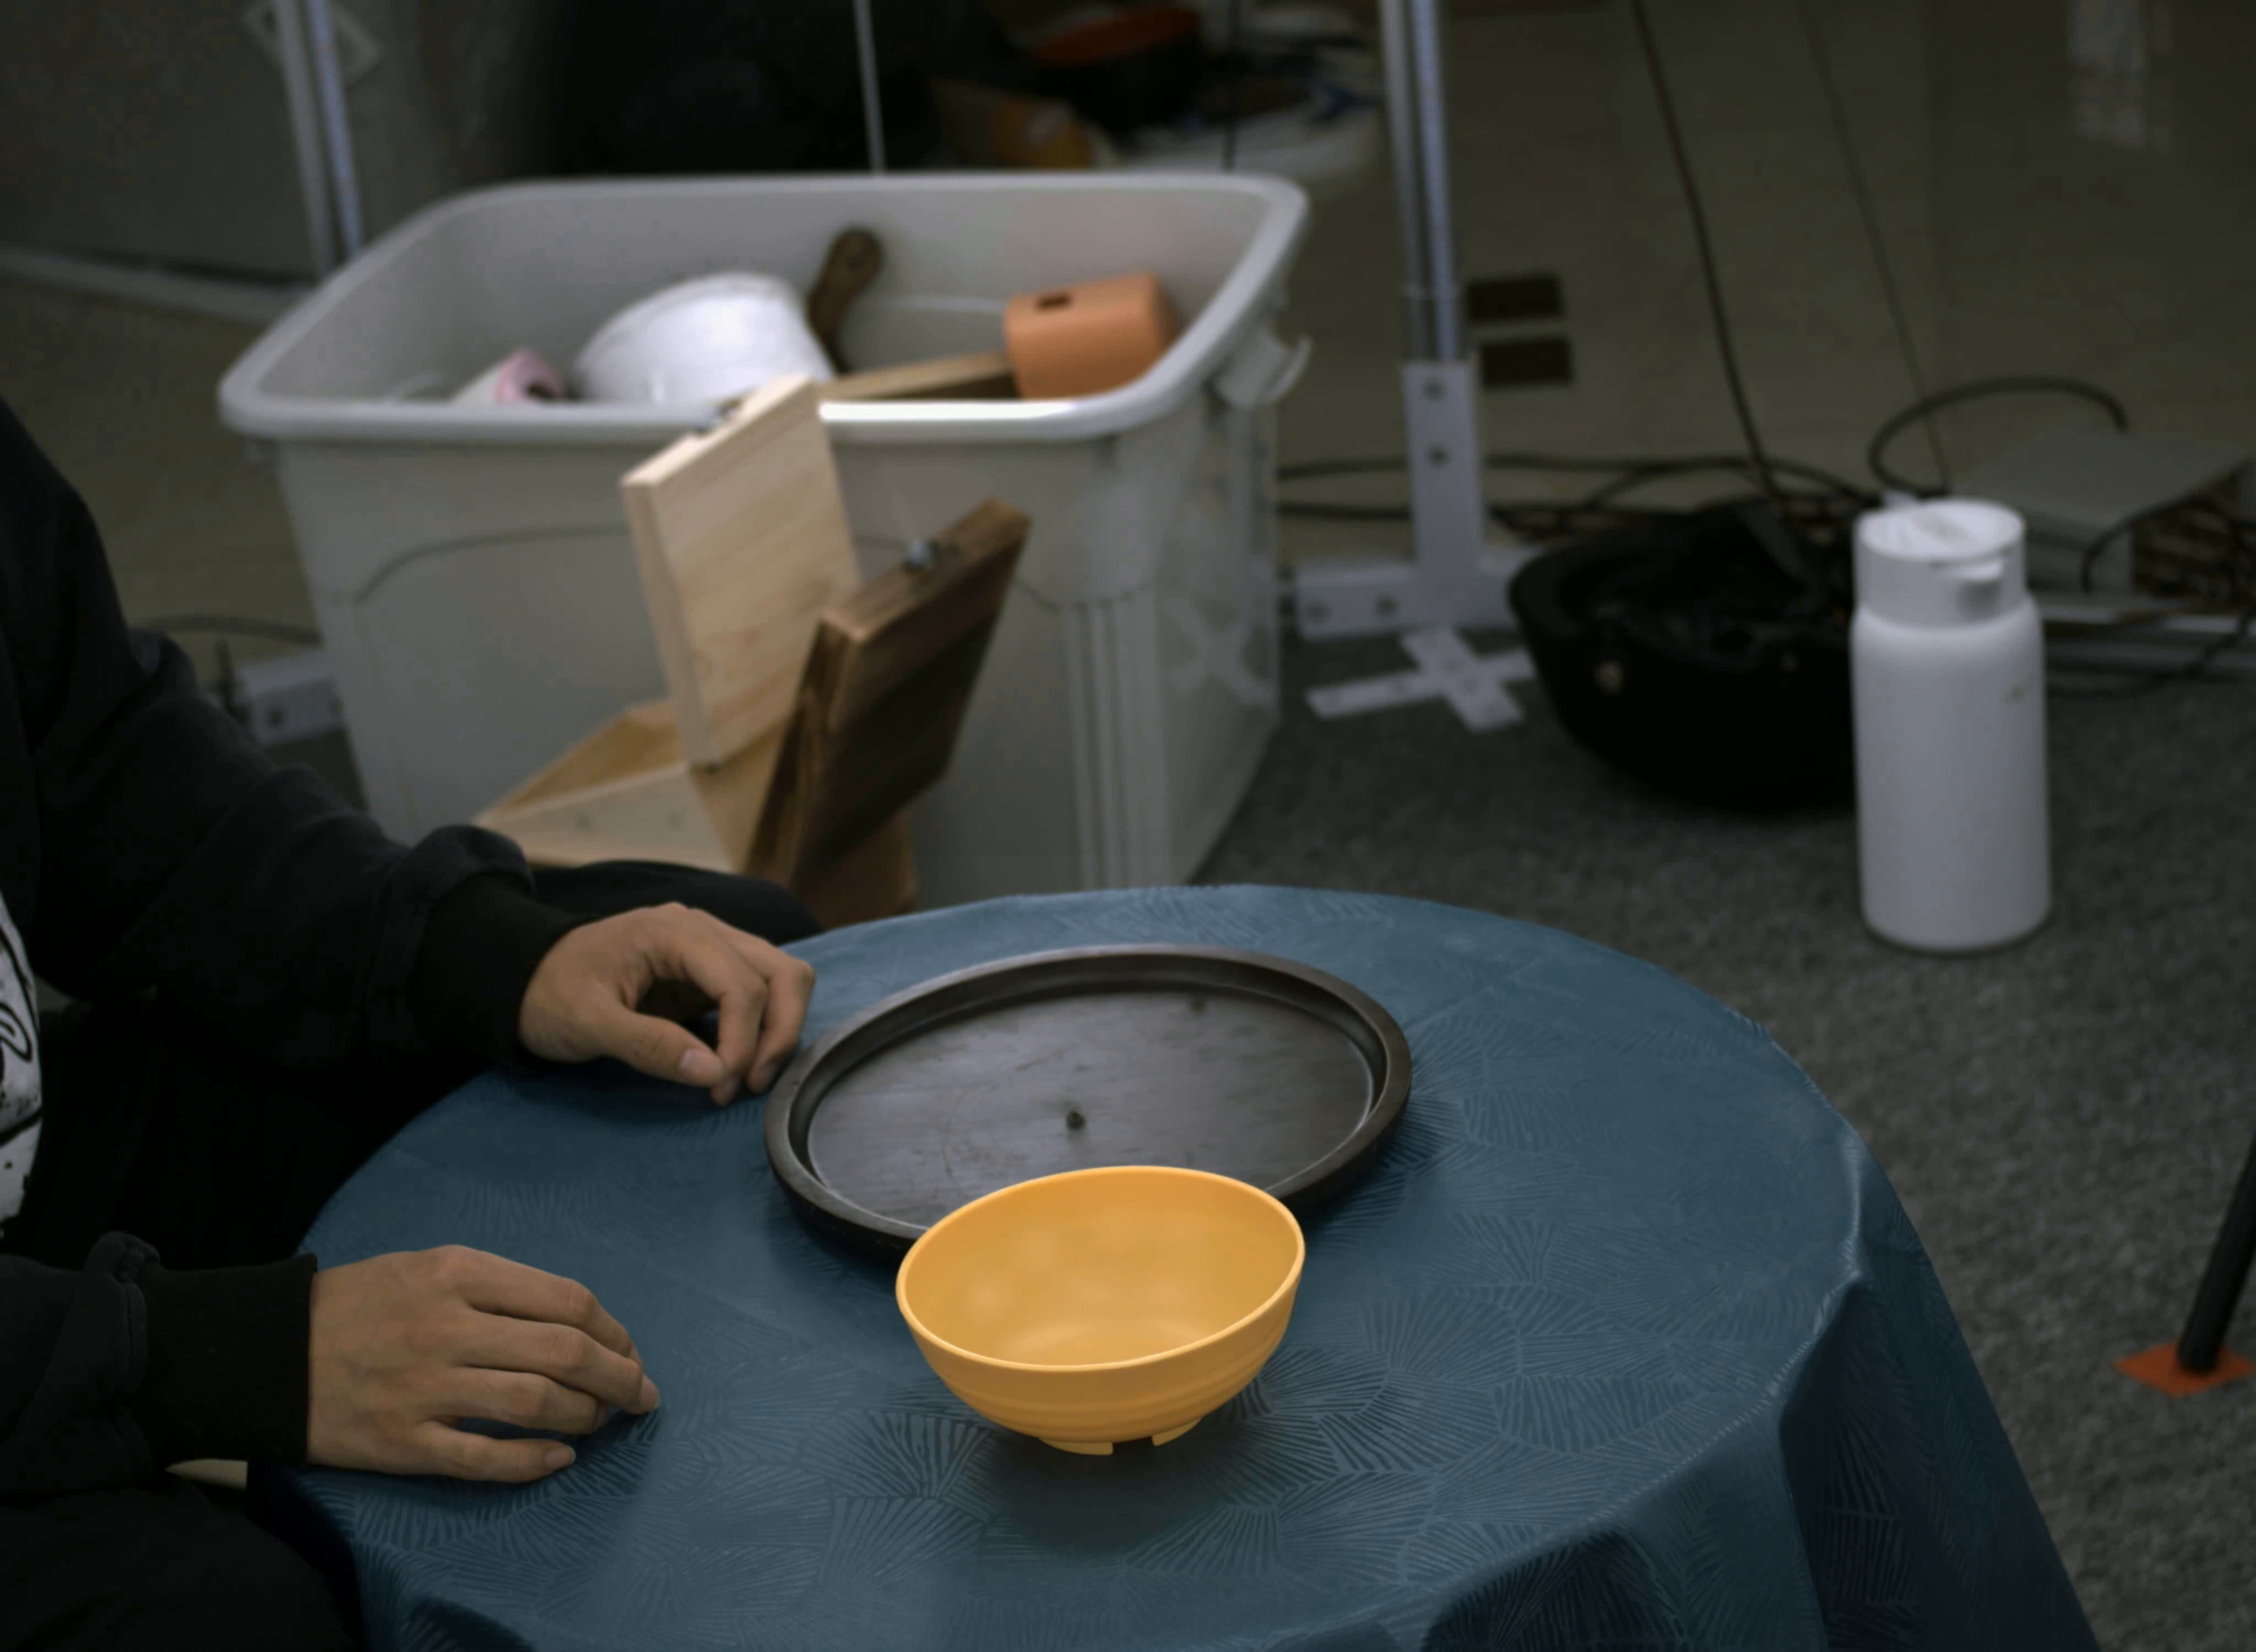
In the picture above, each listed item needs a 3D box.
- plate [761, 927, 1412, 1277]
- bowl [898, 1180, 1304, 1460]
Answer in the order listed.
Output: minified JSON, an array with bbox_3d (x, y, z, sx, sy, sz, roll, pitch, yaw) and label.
[{"bbox_3d":[-0.015,0.111,2.190,0.254,0.029,0.251,-6,27,3],"label":"plate"},{"bbox_3d":[-0.006,0.181,1.996,0.145,0.061,0.143,-7,23,3],"label":"bowl"}]
